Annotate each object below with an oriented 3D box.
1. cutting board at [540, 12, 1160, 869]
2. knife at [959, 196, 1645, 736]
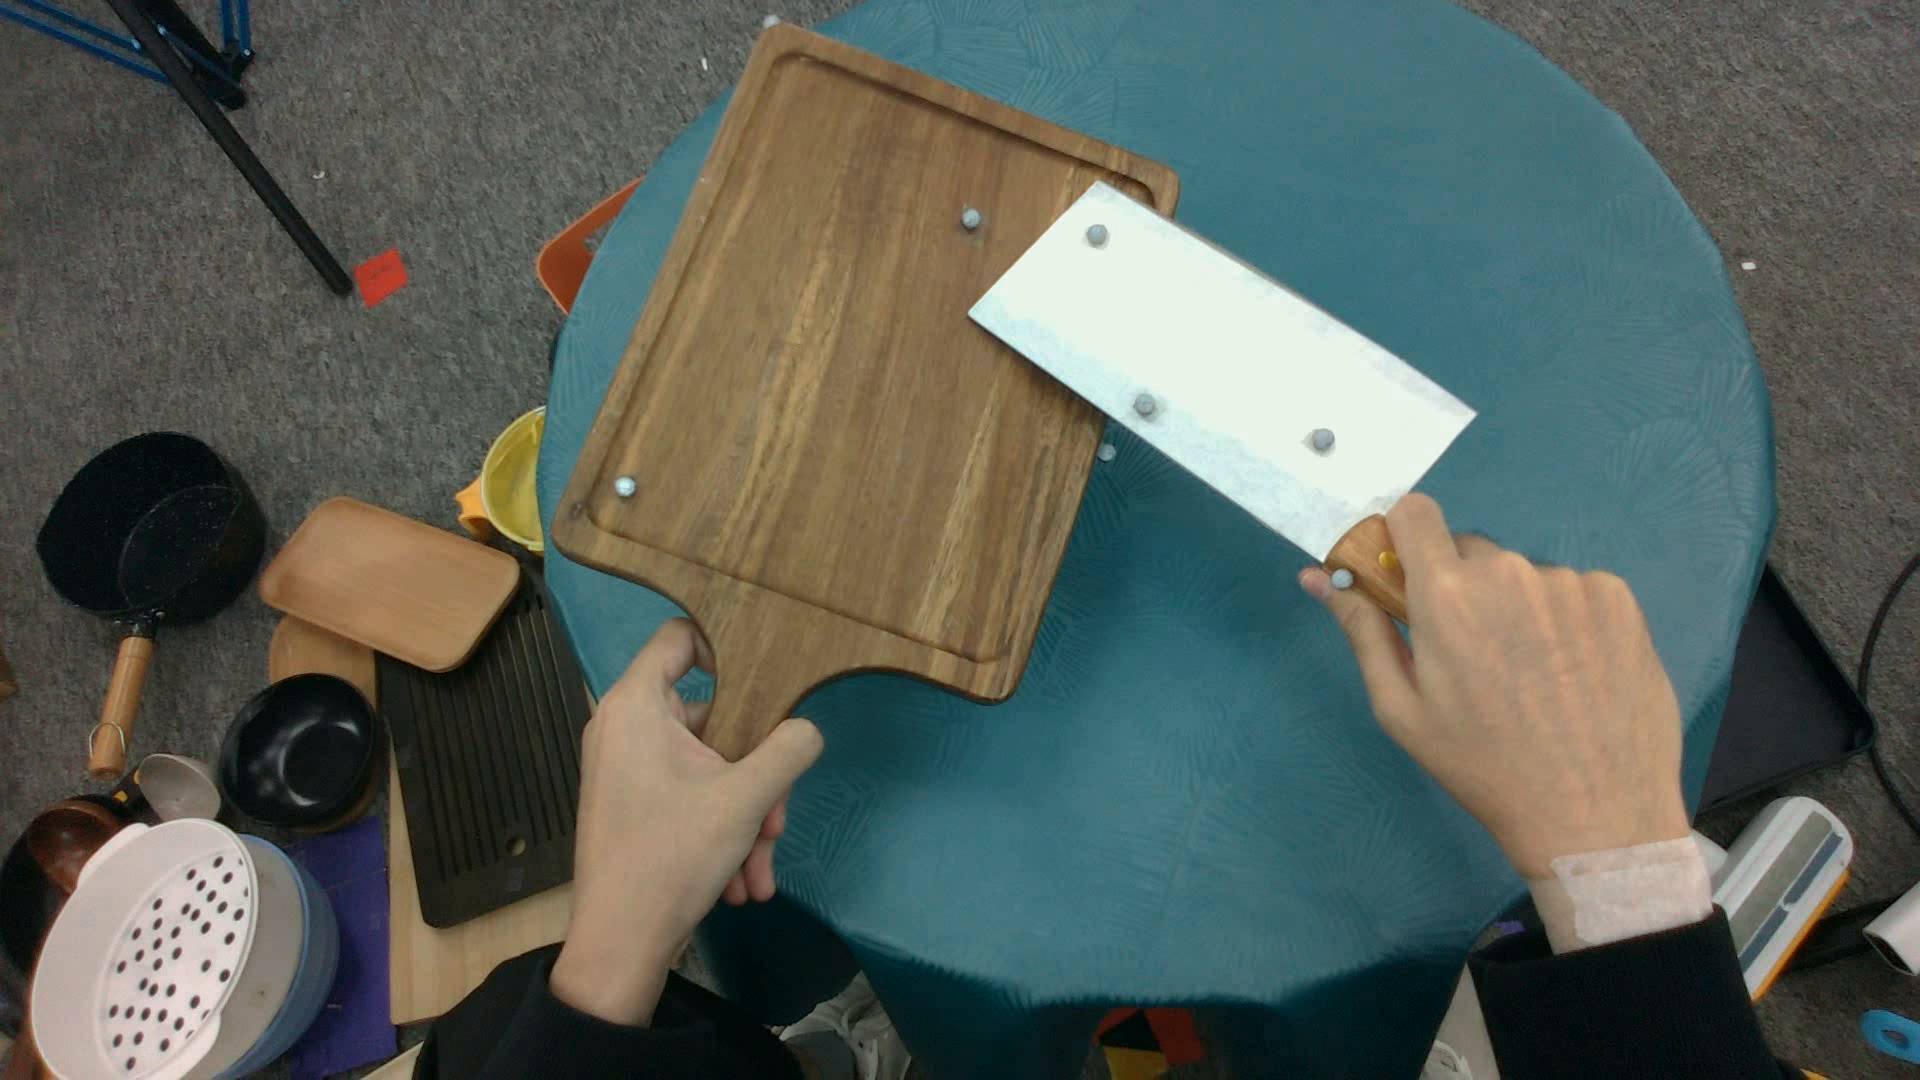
[{"bbox_3d":[-0.053,-0.039,0.566,0.201,0.023,0.353,19,76,-3],"label":"cutting board"},{"bbox_3d":[0.138,-0.045,0.542,0.306,0.021,0.093,37,74,19],"label":"knife"}]
